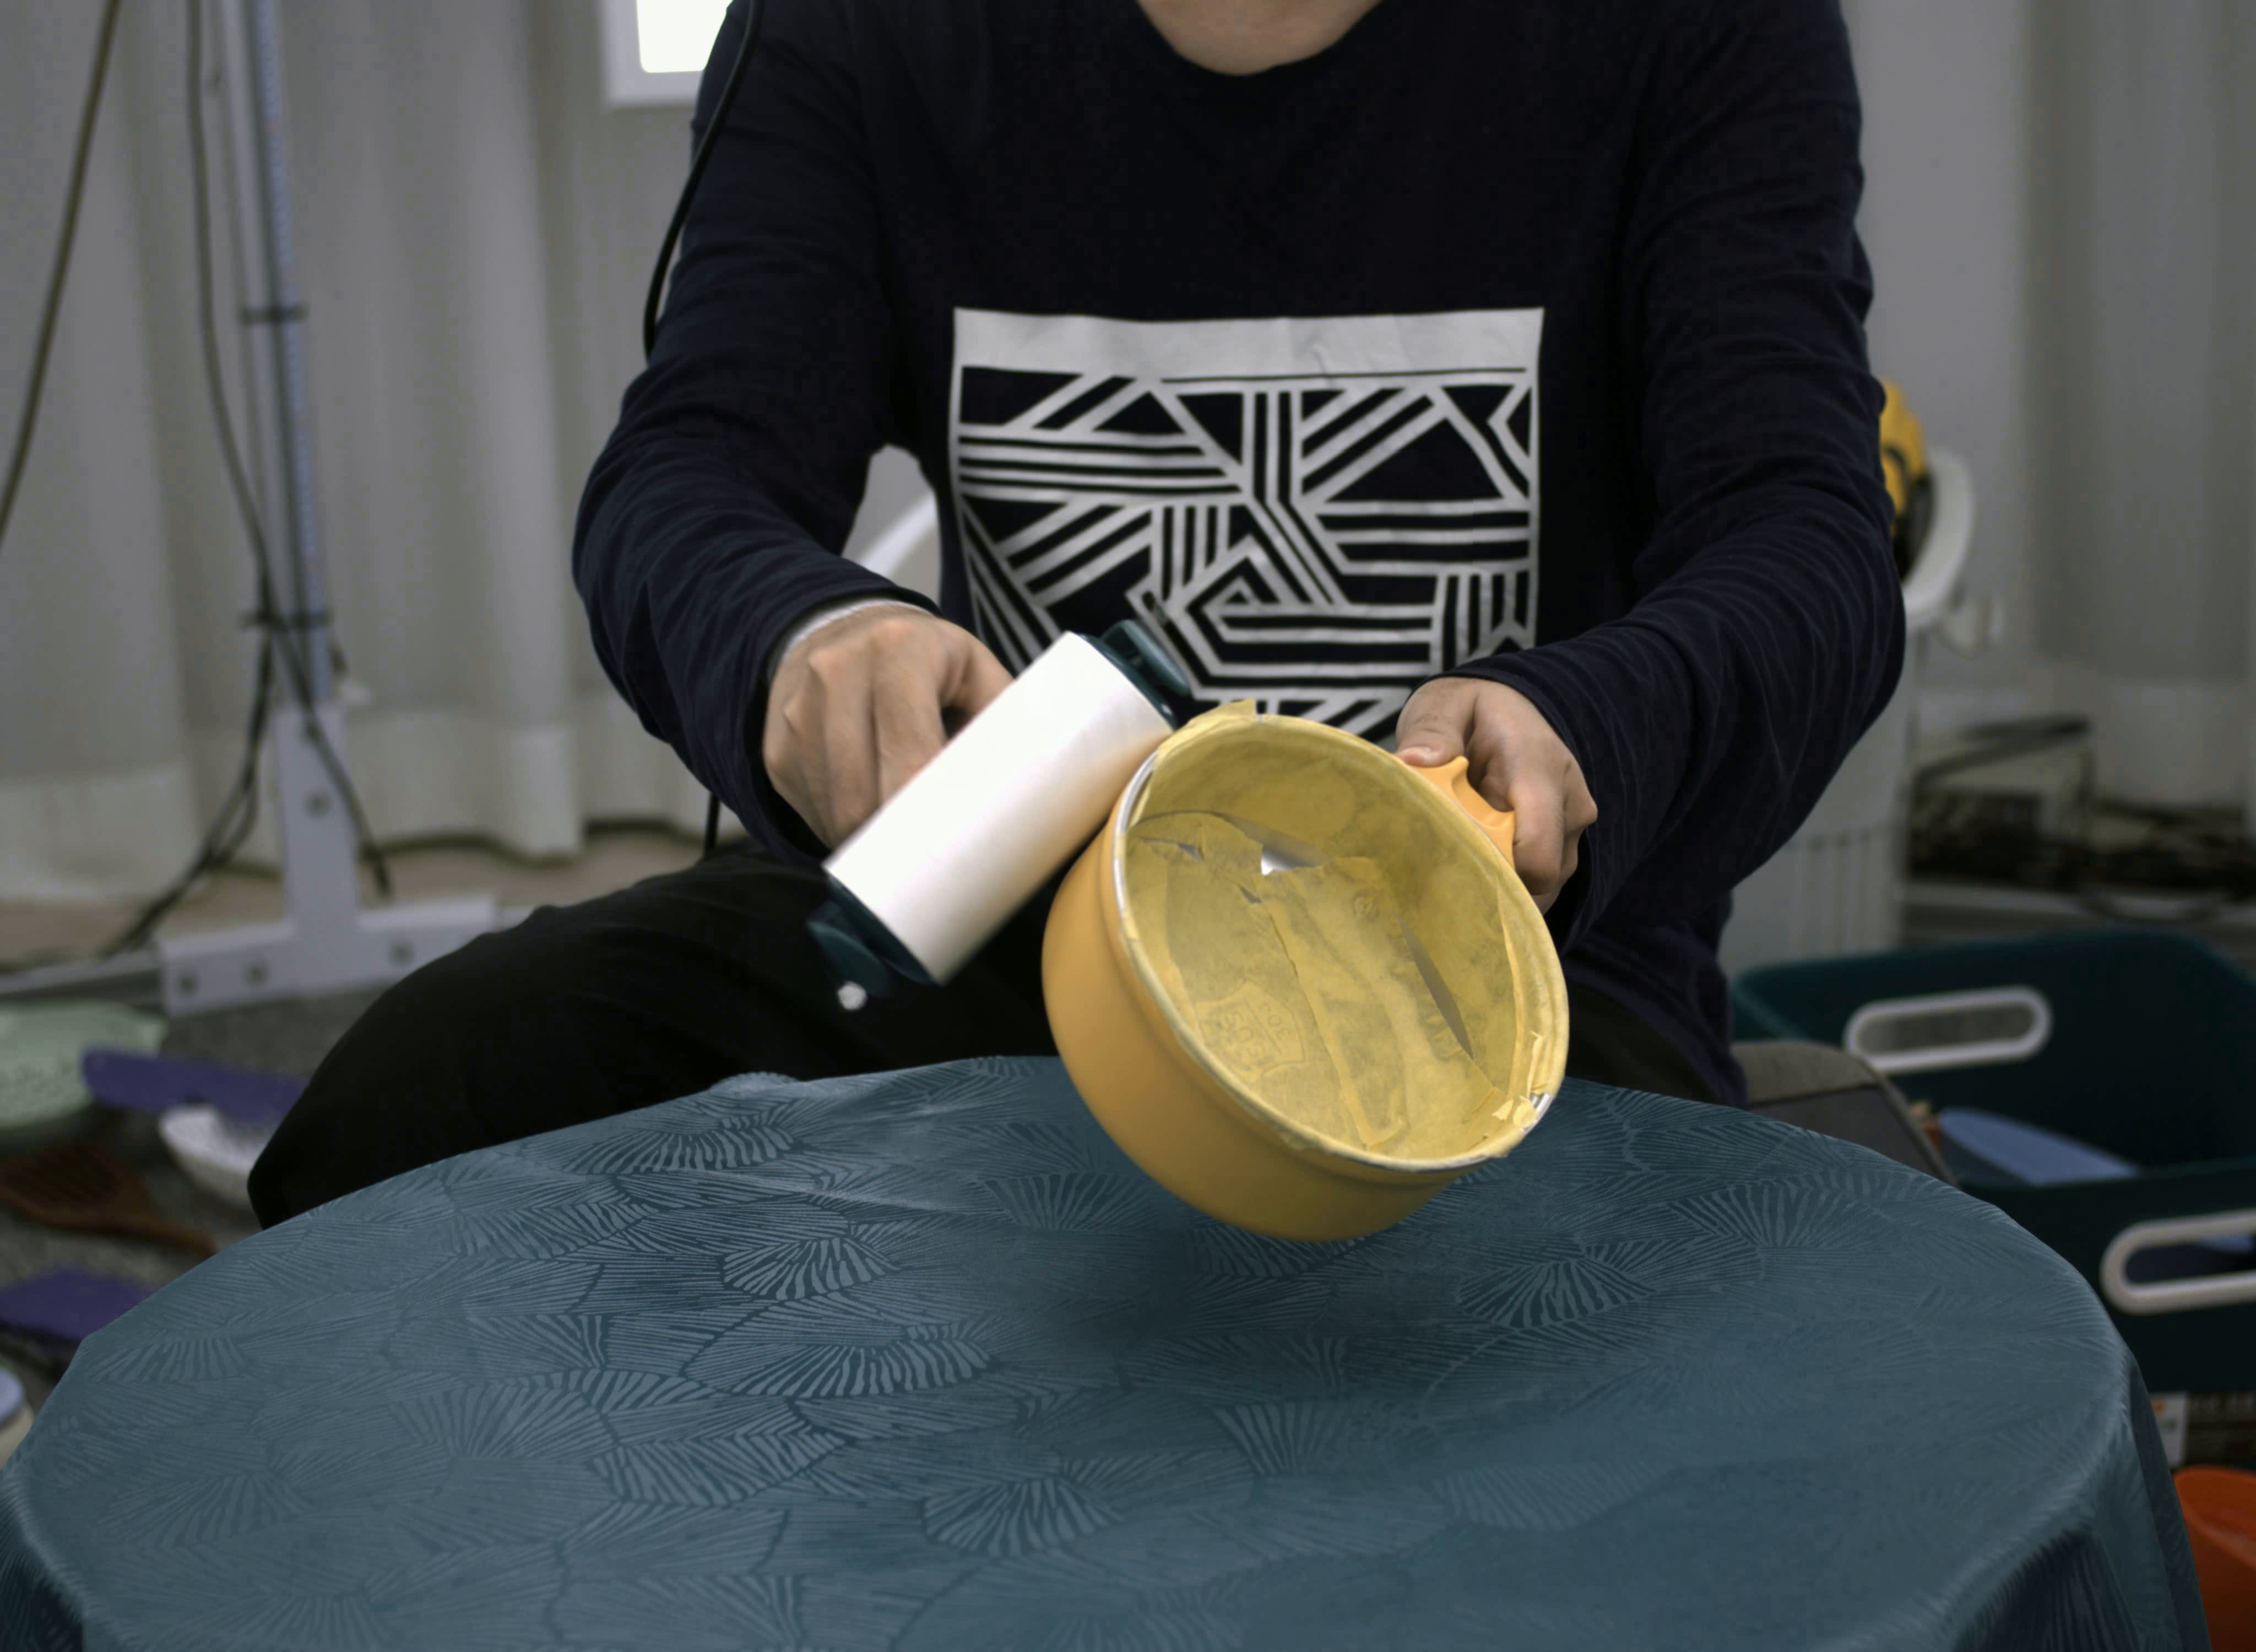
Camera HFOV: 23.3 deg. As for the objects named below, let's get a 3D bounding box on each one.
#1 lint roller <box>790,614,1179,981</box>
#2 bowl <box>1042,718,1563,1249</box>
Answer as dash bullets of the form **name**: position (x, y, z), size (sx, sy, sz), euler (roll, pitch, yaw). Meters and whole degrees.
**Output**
- **lint roller**: position (-0.059, -0.018, 1.641), size (0.134, 0.048, 0.181), euler (-42, 18, -7)
- **bowl**: position (0.053, 0.044, 1.589), size (0.153, 0.074, 0.181), euler (39, 42, -1)
